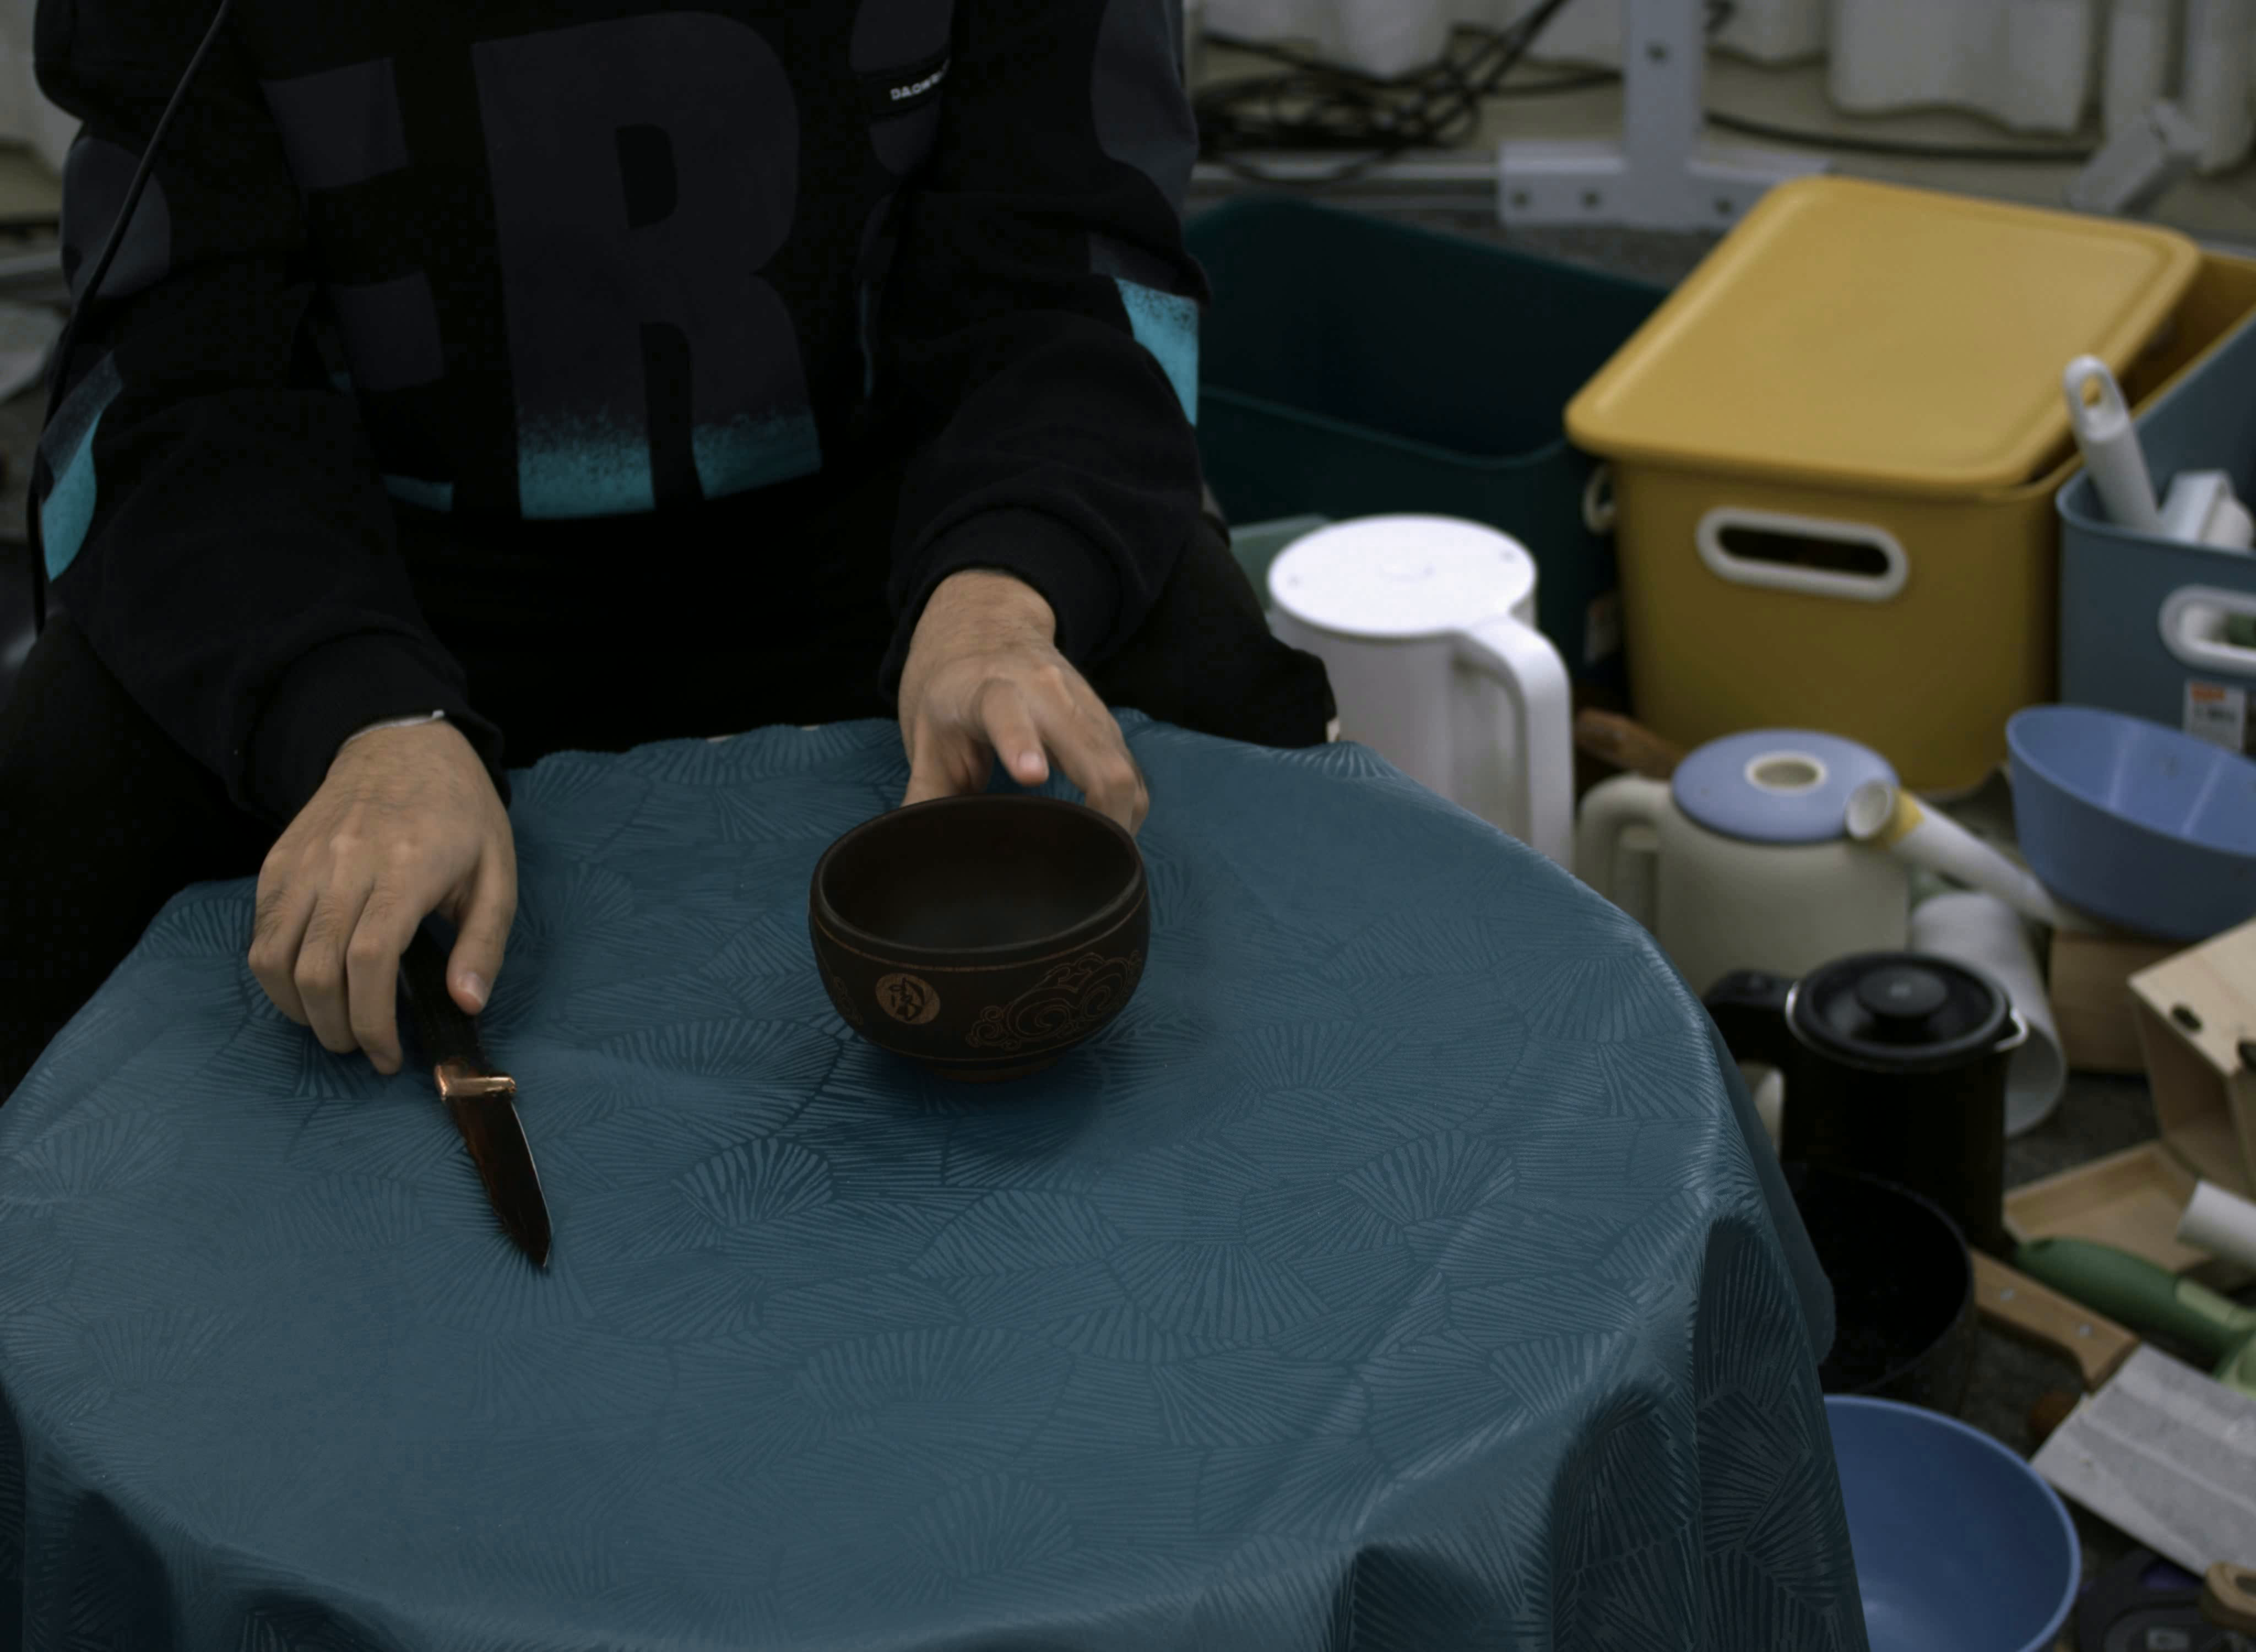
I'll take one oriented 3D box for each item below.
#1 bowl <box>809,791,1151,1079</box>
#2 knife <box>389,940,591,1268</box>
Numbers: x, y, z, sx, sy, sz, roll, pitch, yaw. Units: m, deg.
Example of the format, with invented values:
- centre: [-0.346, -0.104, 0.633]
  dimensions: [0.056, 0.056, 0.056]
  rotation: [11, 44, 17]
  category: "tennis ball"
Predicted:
- centre: [-0.050, 0.044, 1.936]
  dimensions: [0.117, 0.069, 0.120]
  rotation: [-1, 26, 1]
  category: "bowl"
- centre: [-0.221, 0.095, 1.924]
  dimensions: [0.026, 0.017, 0.227]
  rotation: [-5, 28, -19]
  category: "knife"
